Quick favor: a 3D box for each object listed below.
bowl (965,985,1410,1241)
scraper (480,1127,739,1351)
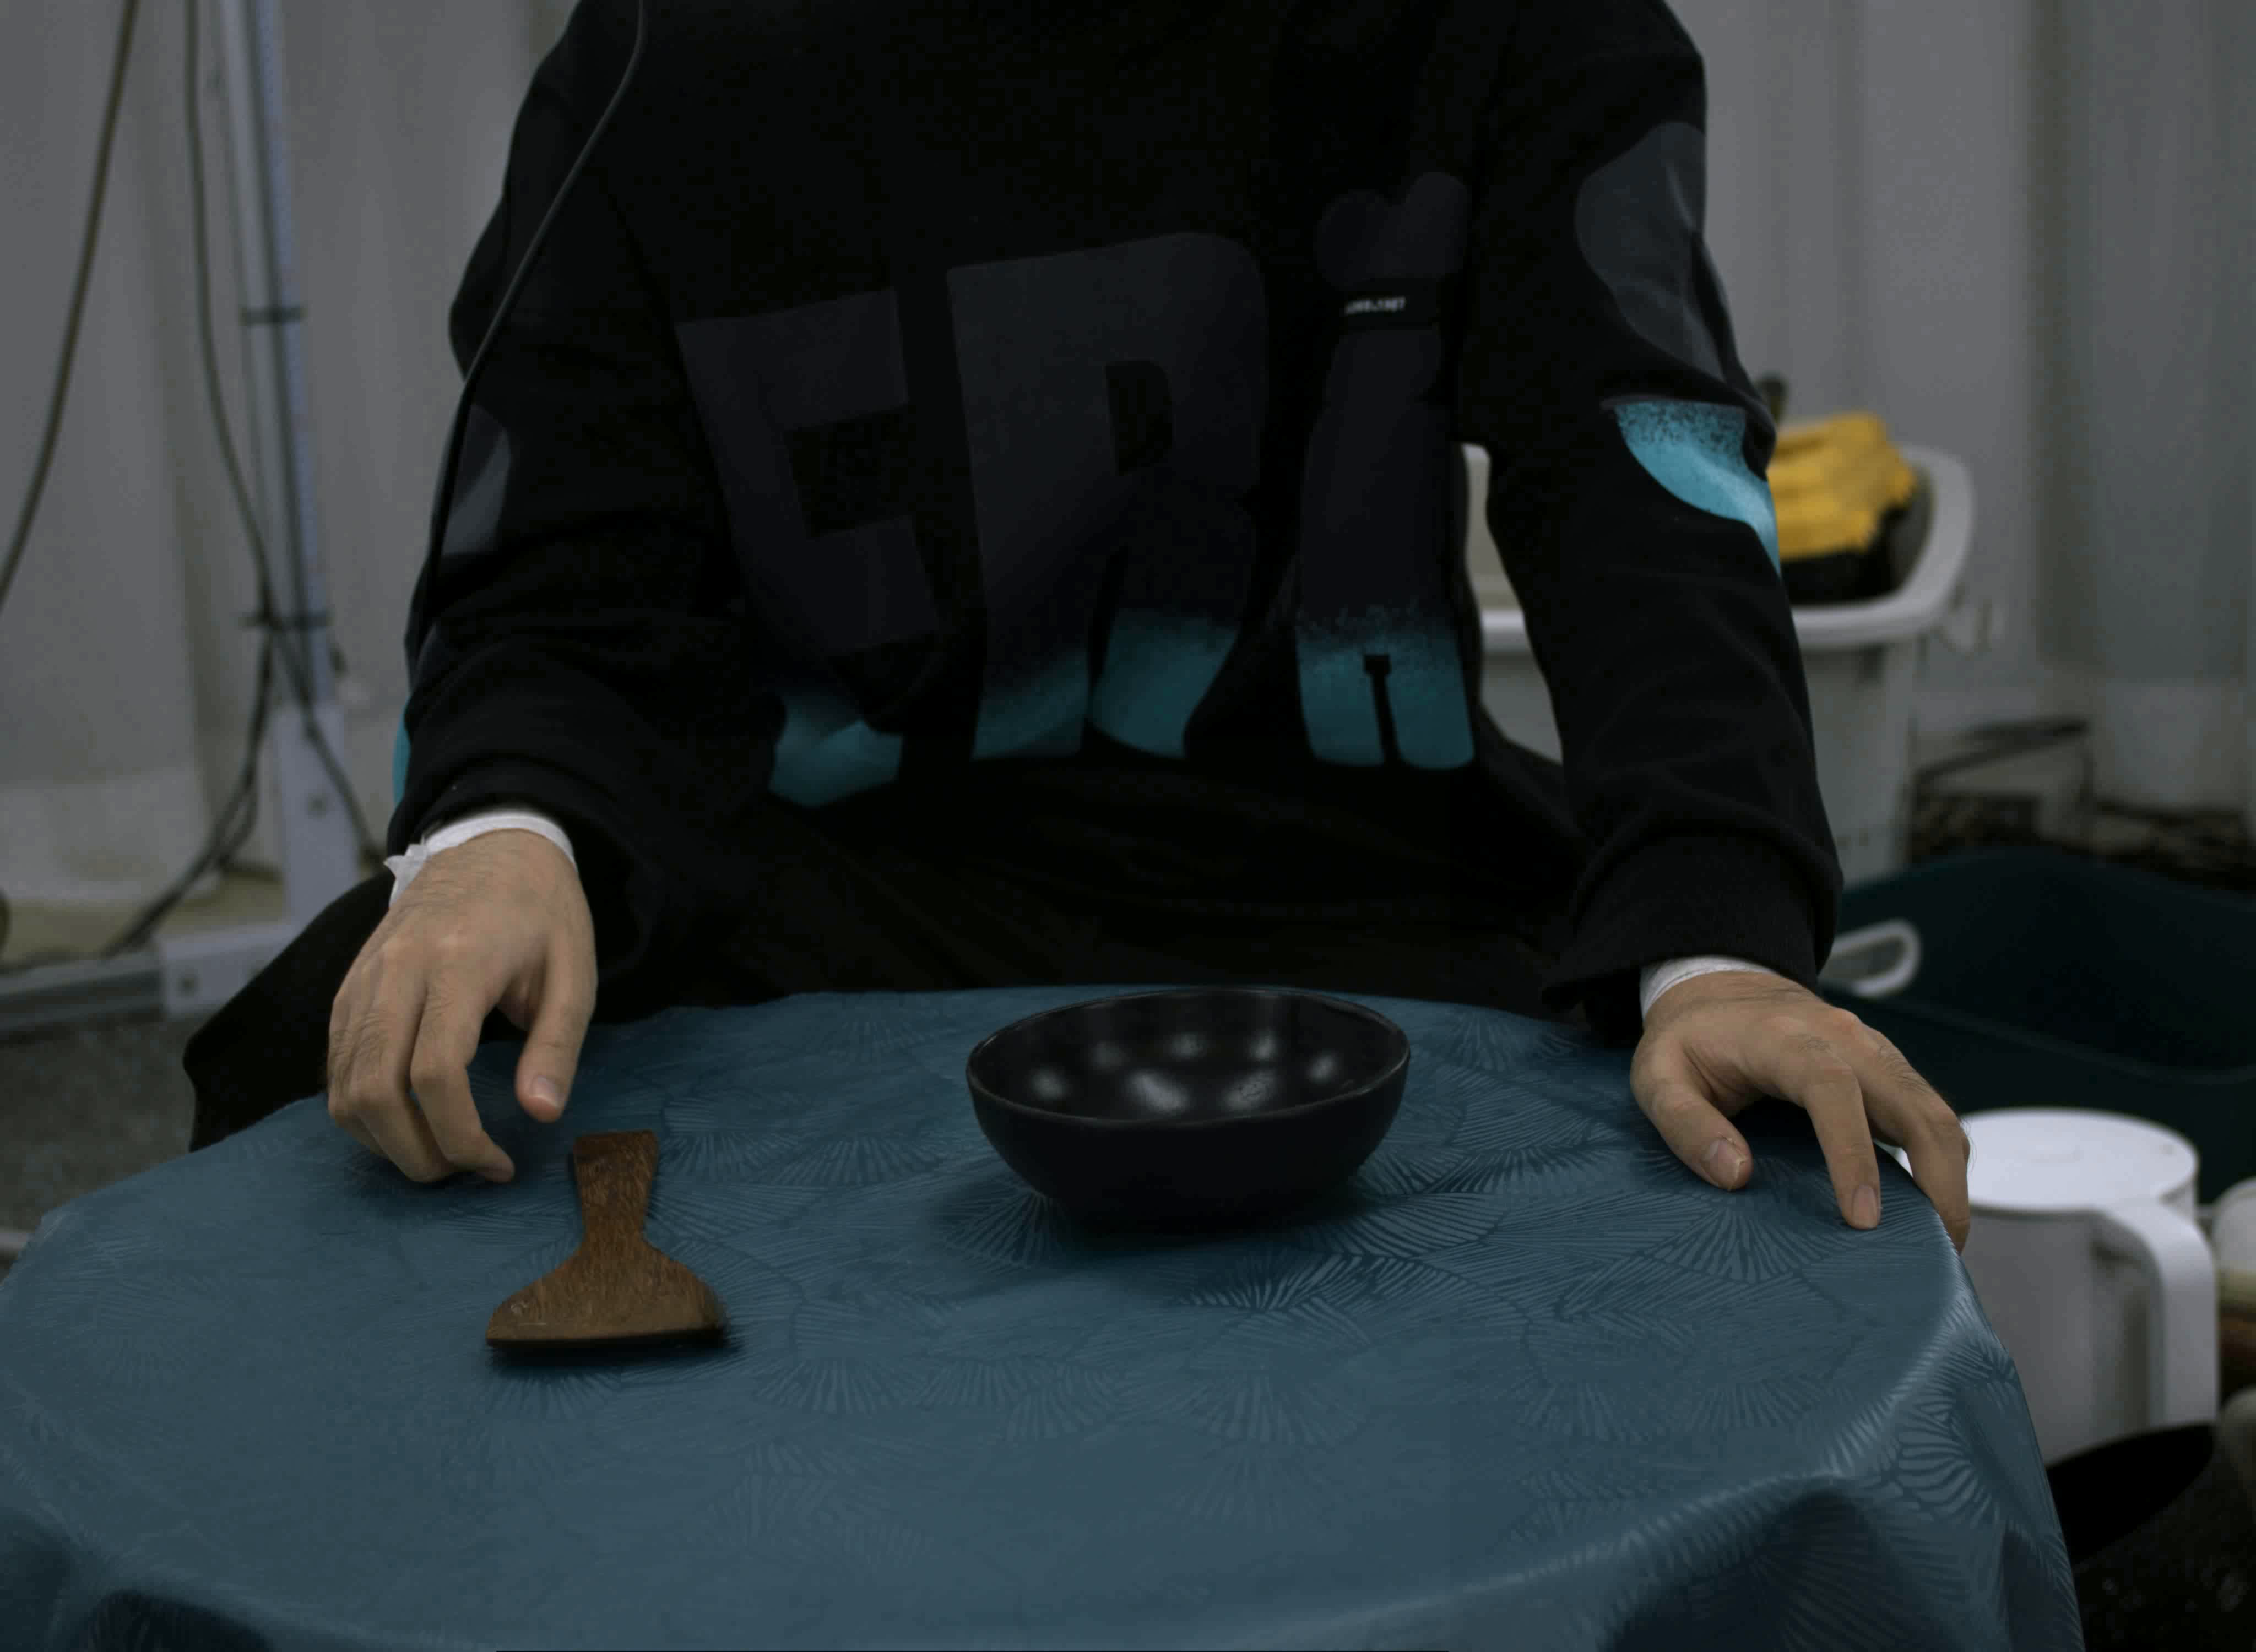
[{"bbox_3d":[0.021,0.094,1.696,0.139,0.049,0.141,-5,15,1],"label":"bowl"},{"bbox_3d":[-0.158,0.127,1.684,0.075,0.011,0.213,-3,14,-4],"label":"scraper"}]
